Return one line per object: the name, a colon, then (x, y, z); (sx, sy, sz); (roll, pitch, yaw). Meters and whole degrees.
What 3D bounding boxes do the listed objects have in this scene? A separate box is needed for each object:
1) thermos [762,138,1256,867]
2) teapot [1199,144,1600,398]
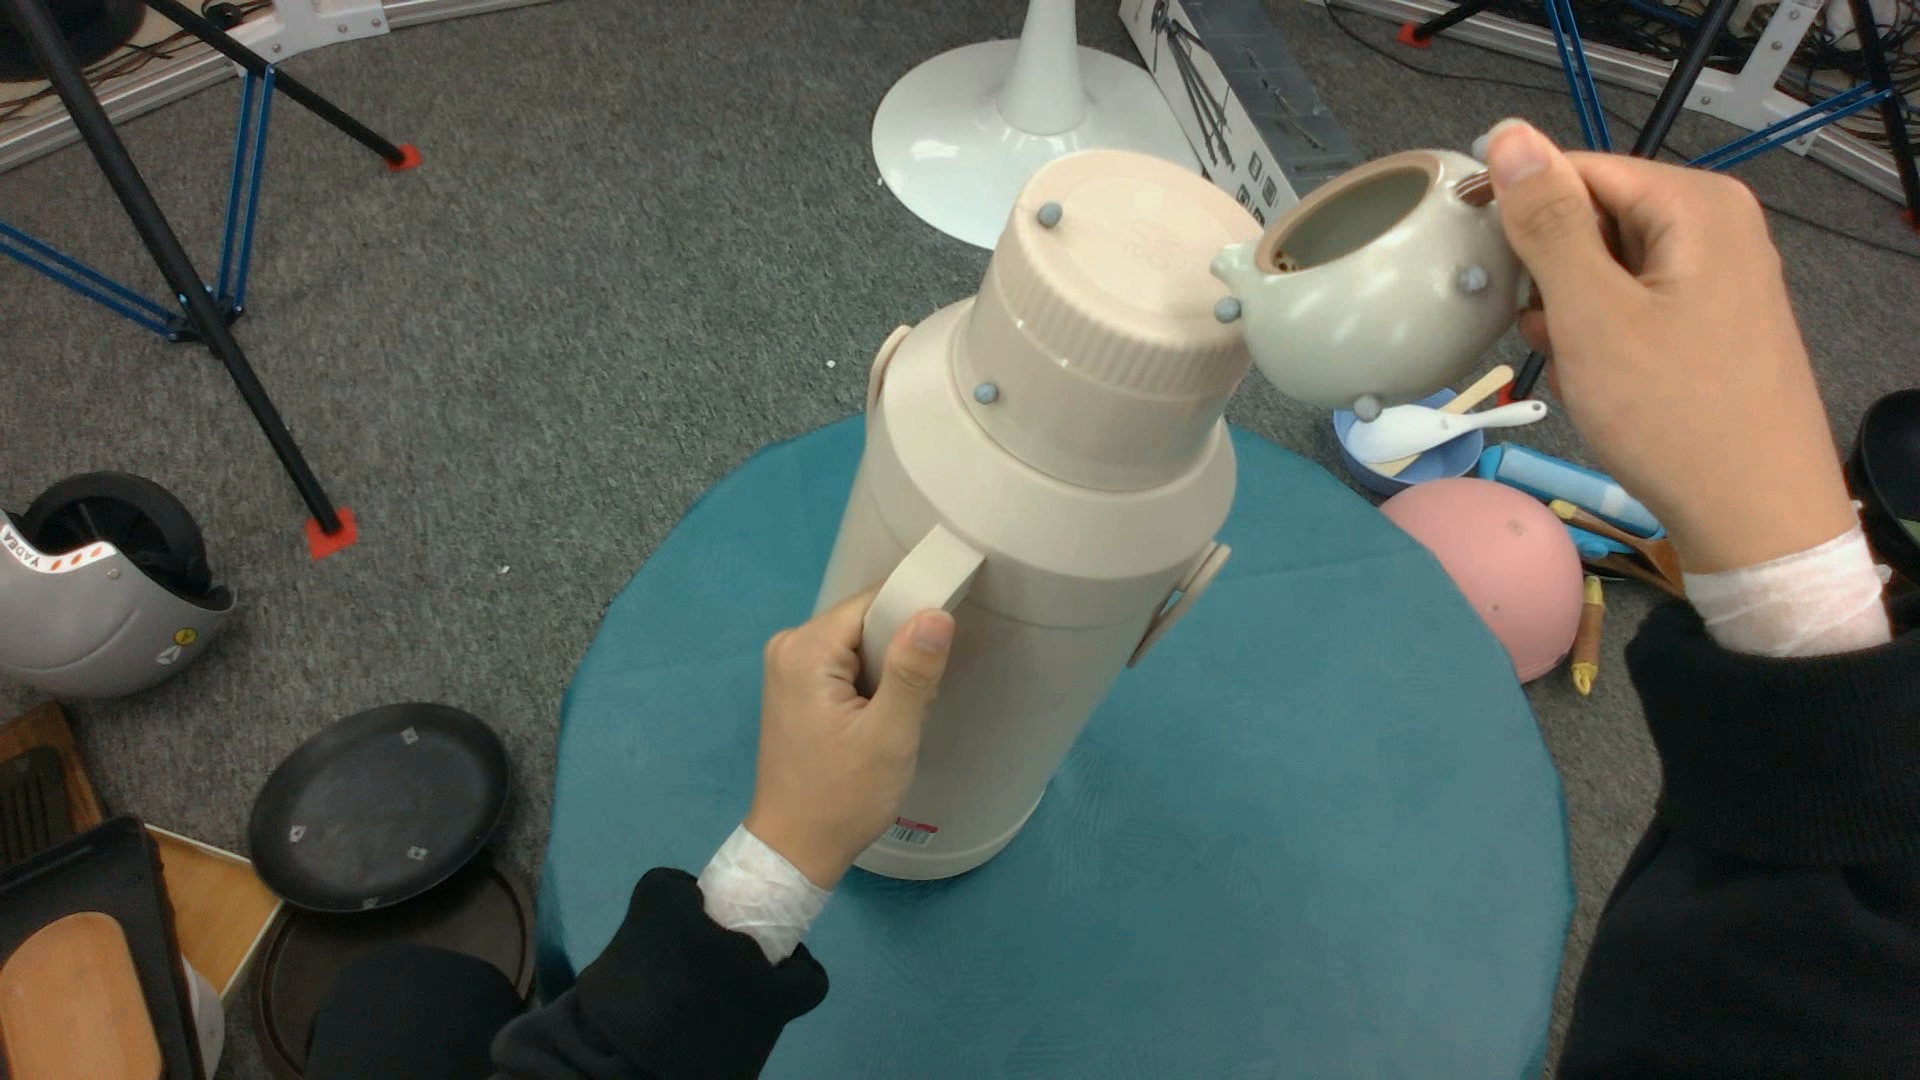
thermos: (0.005, 0.011, 0.645); (0.175, 0.404, 0.208); (35, 51, 8)
teapot: (0.138, -0.087, 0.439); (0.059, 0.127, 0.092); (54, 53, -21)
